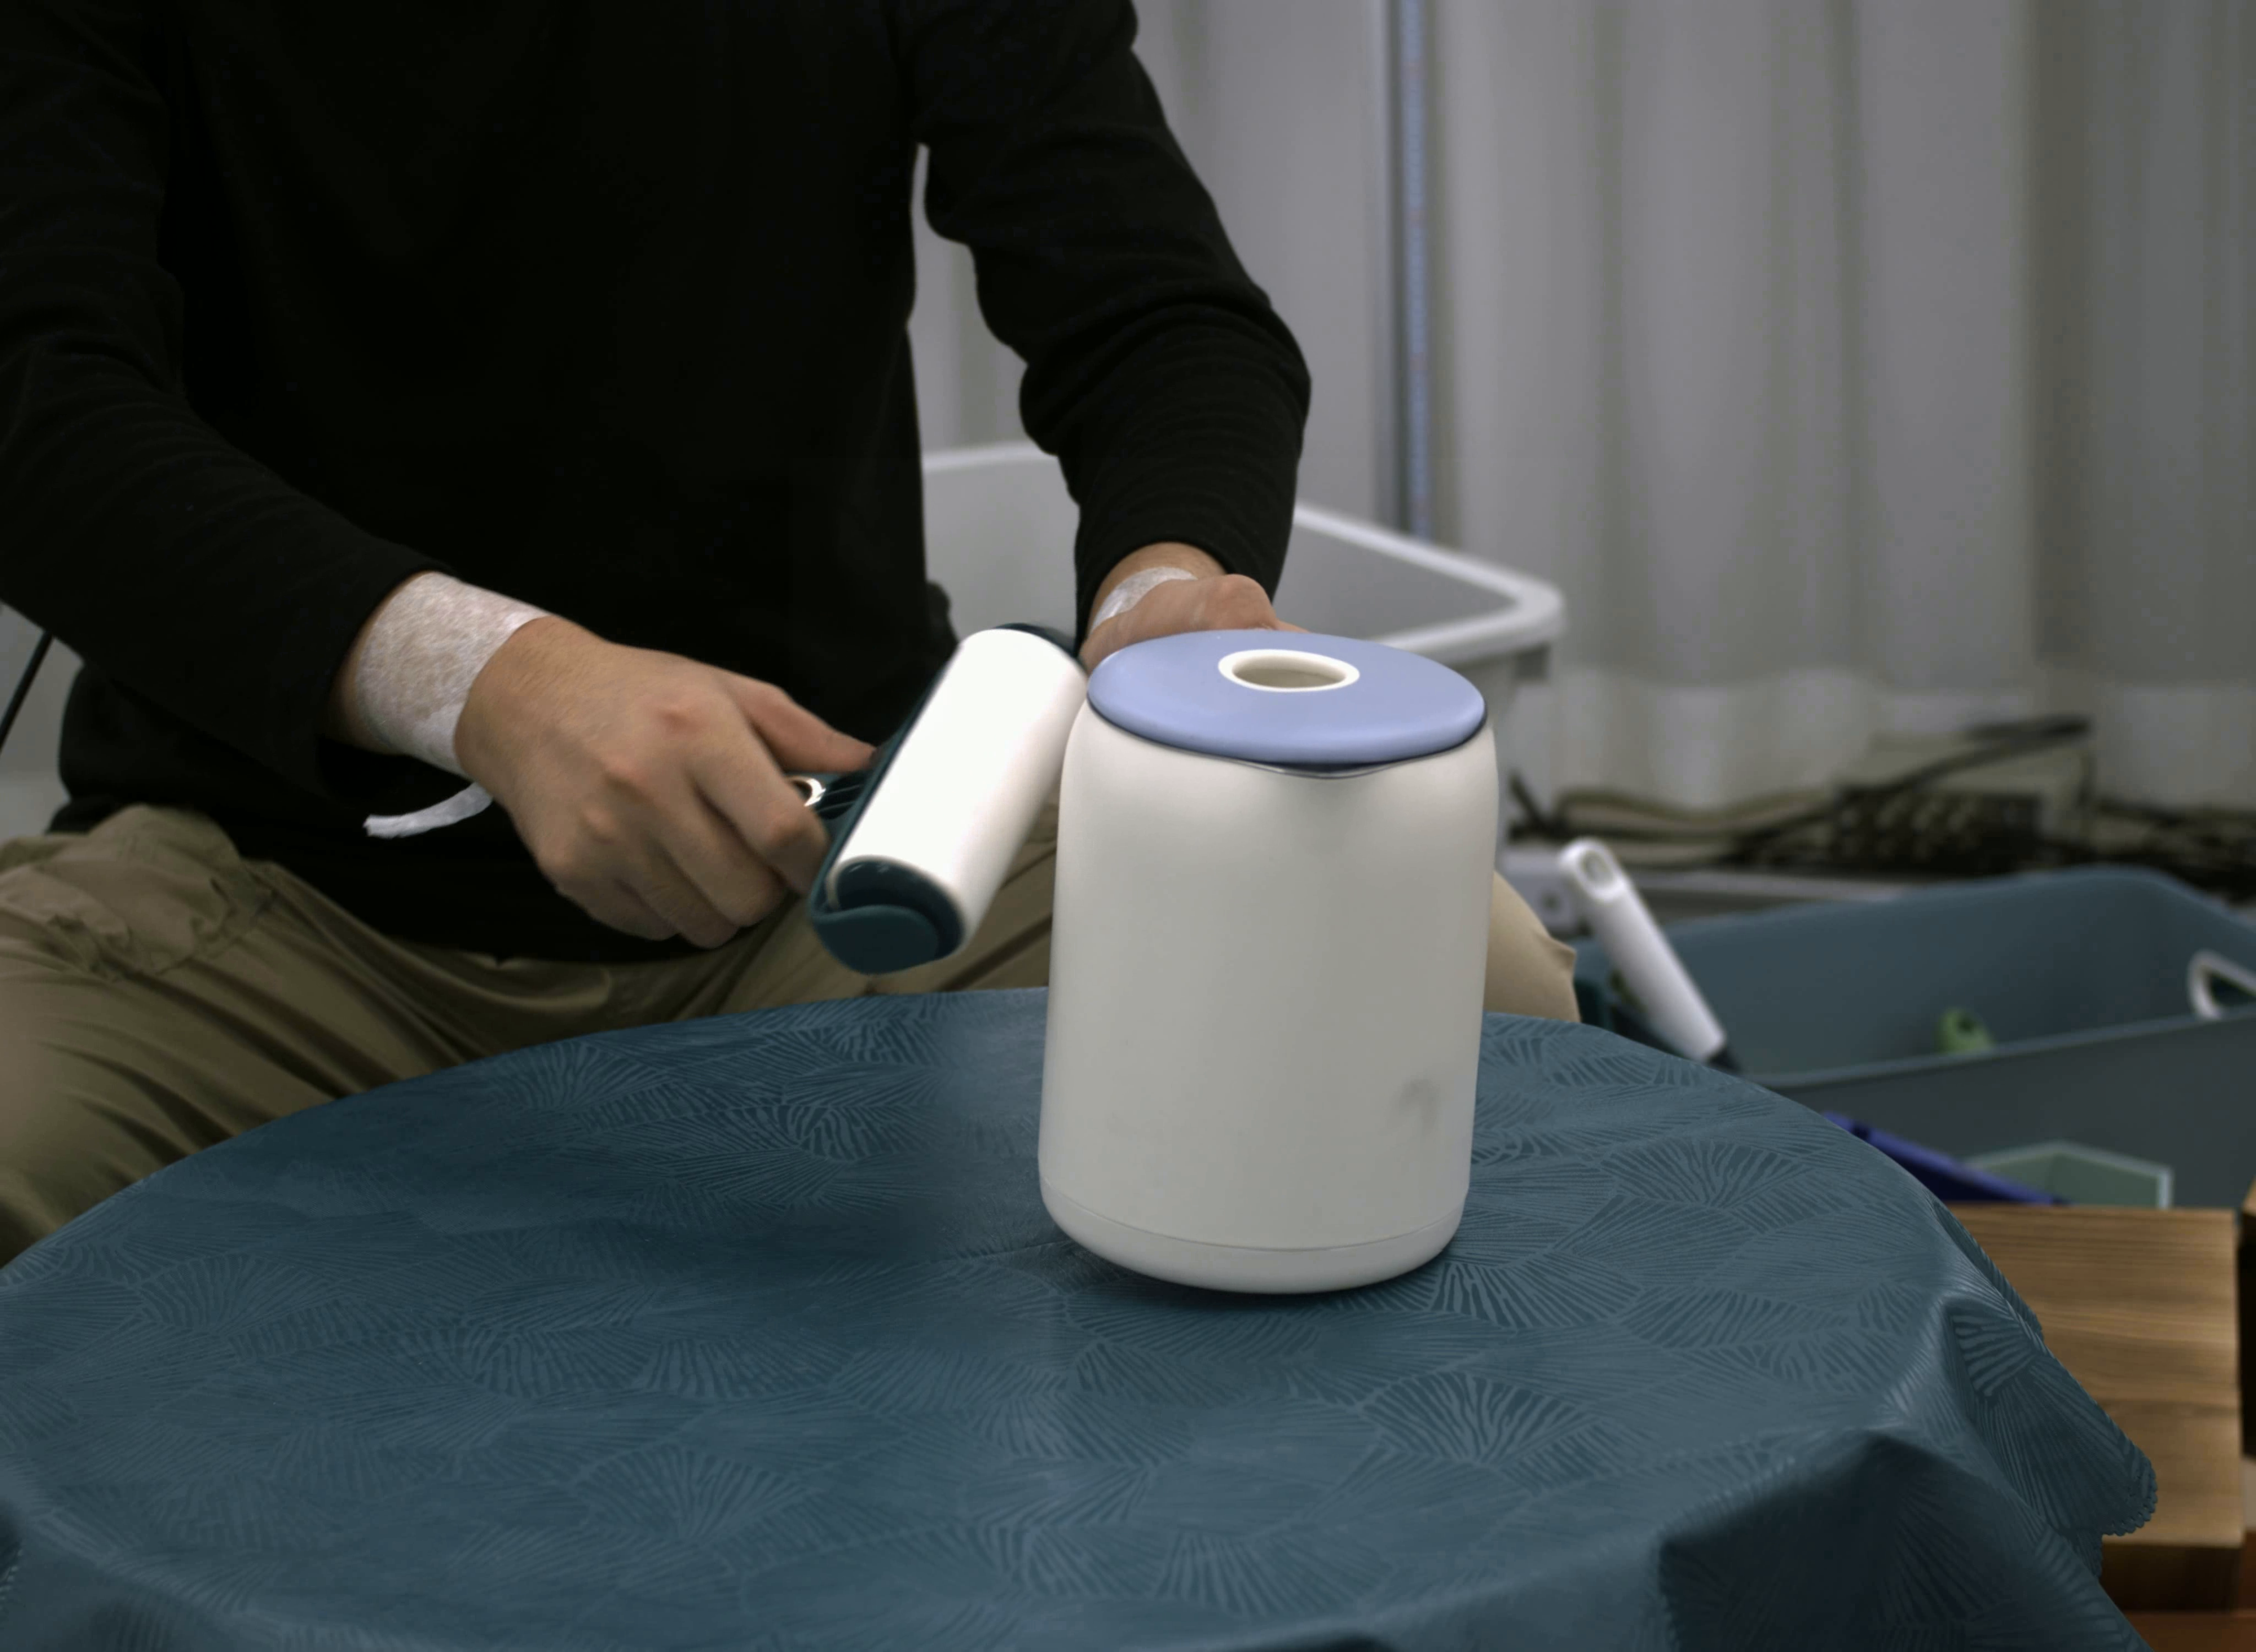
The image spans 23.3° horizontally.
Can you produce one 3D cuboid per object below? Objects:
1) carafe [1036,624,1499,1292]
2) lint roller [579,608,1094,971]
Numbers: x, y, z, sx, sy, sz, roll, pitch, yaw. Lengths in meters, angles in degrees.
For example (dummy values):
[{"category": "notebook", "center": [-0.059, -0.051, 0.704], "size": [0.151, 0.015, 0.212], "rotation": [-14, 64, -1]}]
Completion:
[{"category": "carafe", "center": [0.037, 0.031, 1.659], "size": [0.131, 0.182, 0.193], "rotation": [1, 15, -11]}, {"category": "lint roller", "center": [-0.106, -0.009, 1.703], "size": [0.180, 0.048, 0.136], "rotation": [-1, 42, 31]}]
